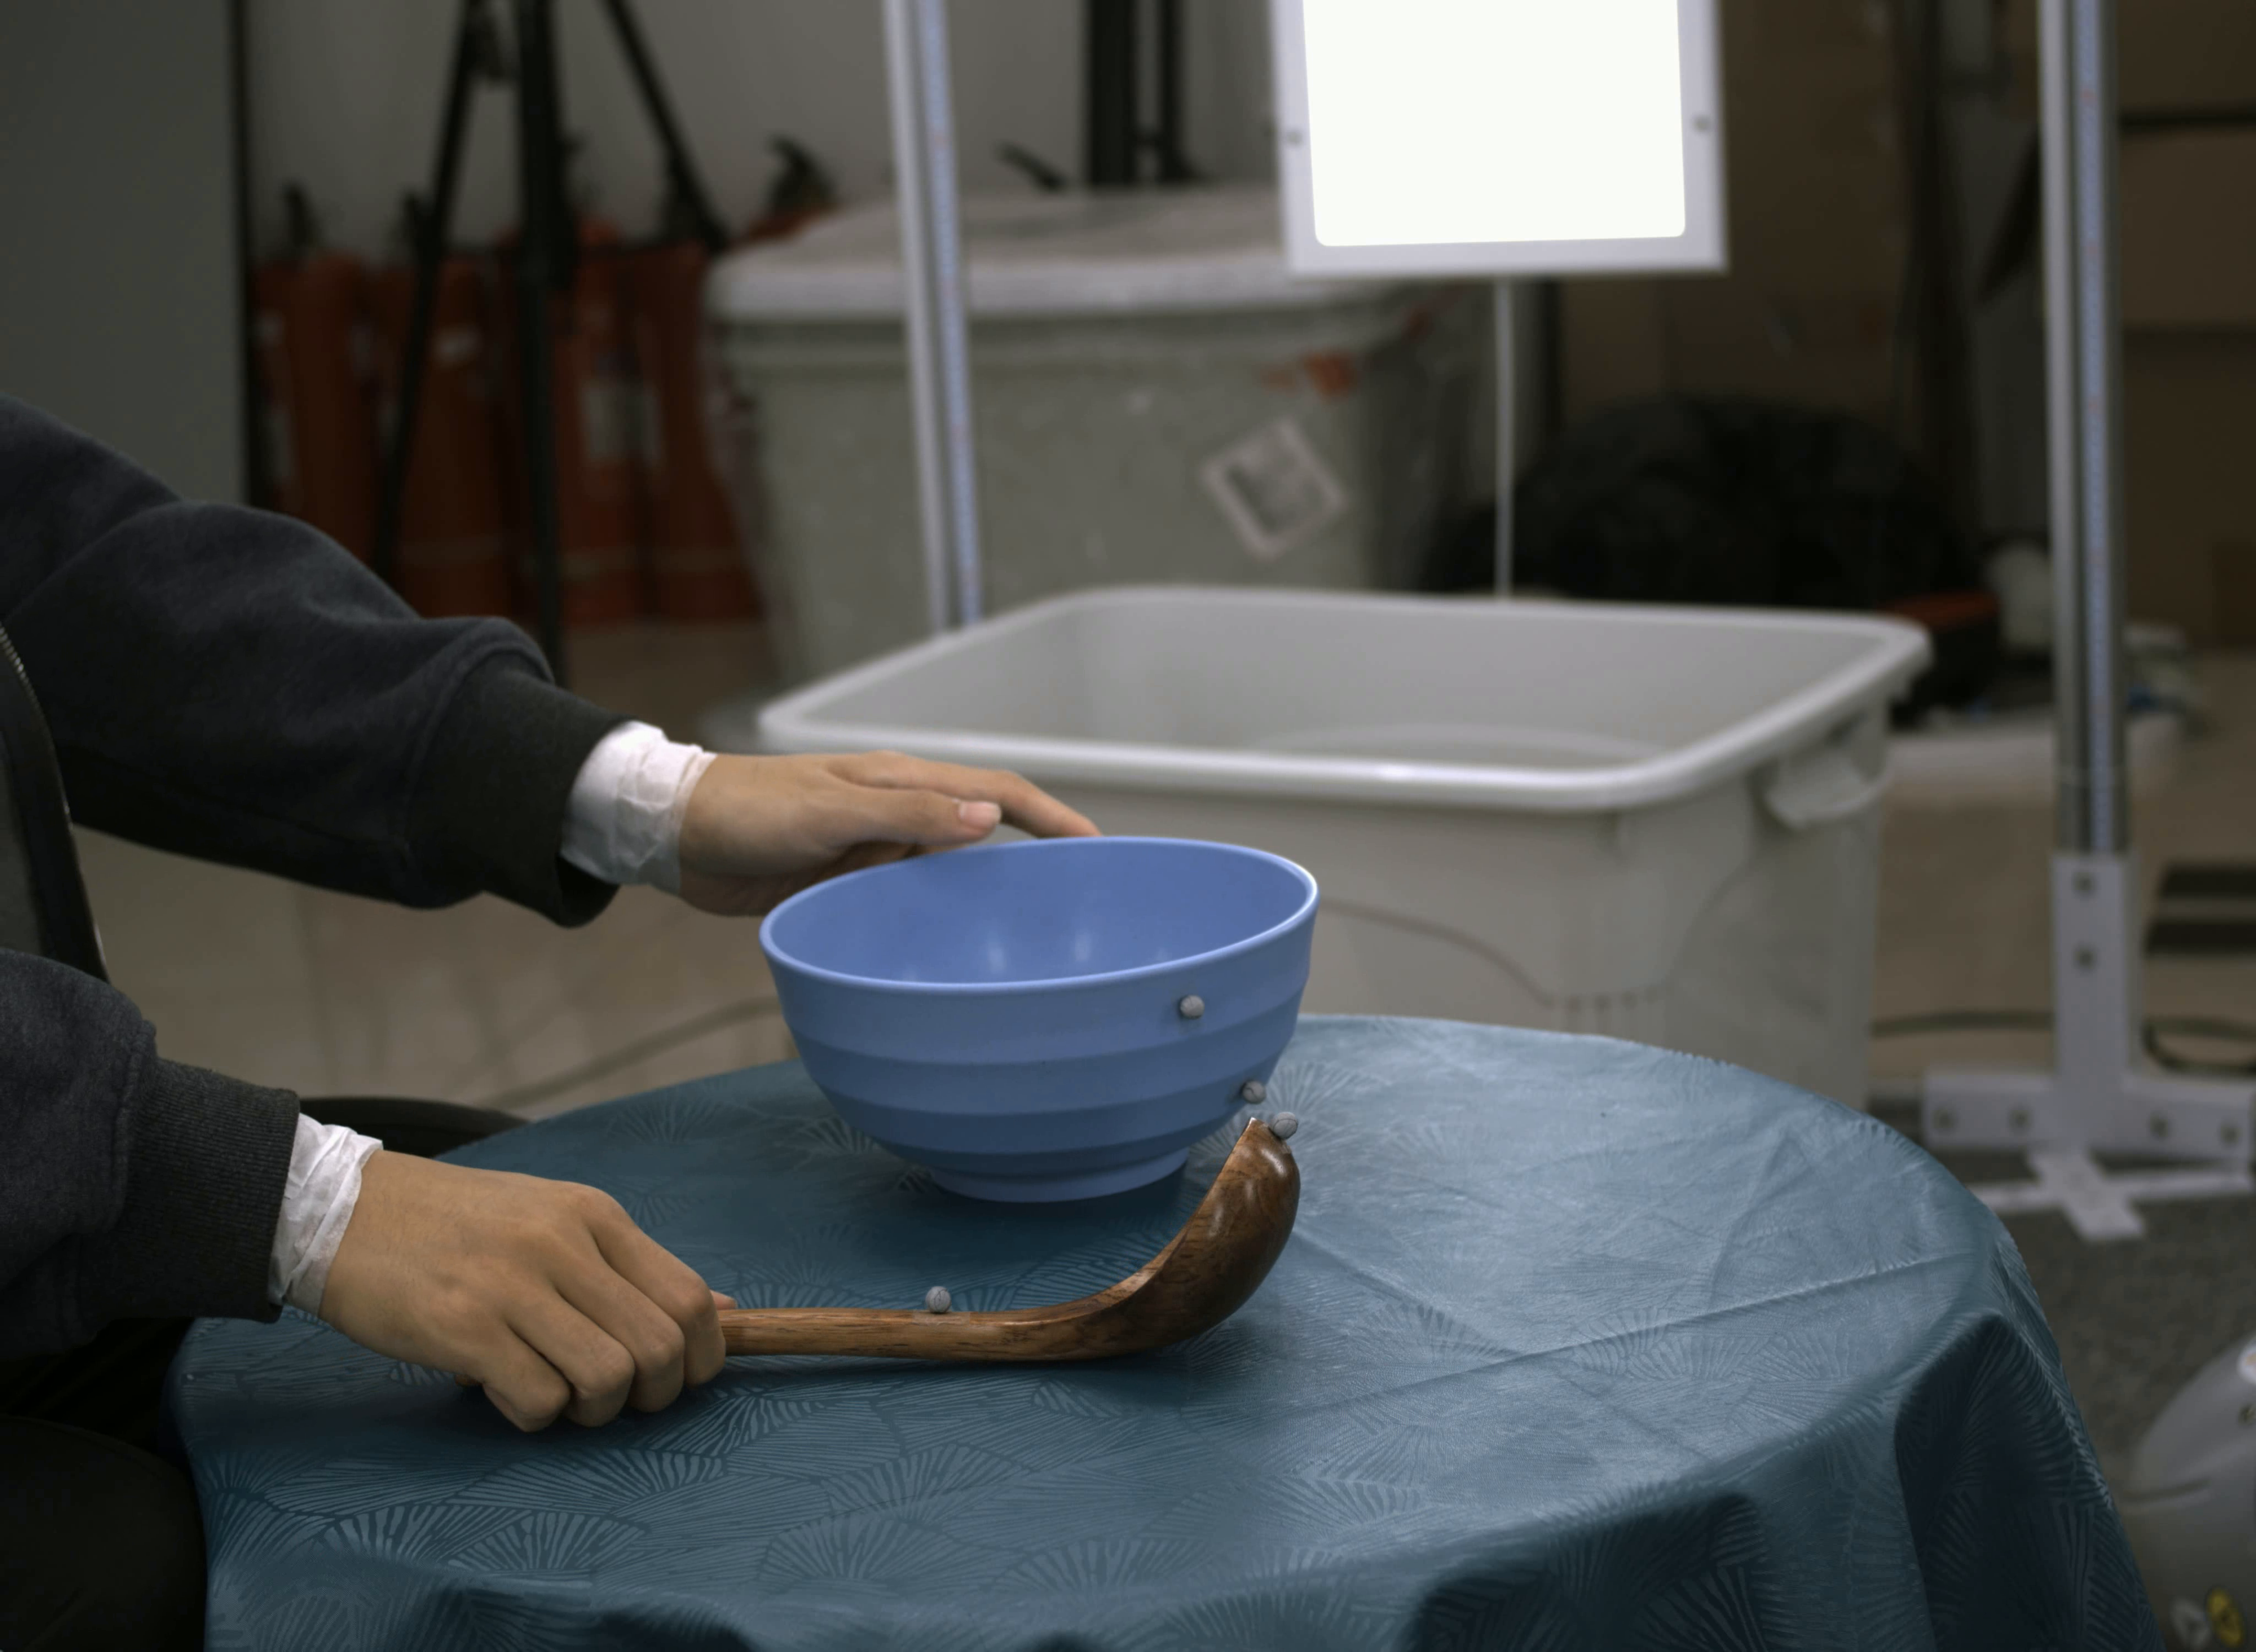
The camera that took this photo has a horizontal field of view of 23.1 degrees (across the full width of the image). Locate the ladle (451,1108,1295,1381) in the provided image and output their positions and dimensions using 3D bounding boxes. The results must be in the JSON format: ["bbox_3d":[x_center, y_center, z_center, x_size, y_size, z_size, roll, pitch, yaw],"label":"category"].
[{"bbox_3d":[-0.083,0.132,1.737,0.275,0.077,0.081,-3,3,10],"label":"ladle"}]

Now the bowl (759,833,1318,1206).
[{"bbox_3d":[-0.027,0.074,1.925,0.196,0.096,0.196,-6,14,0],"label":"bowl"}]
